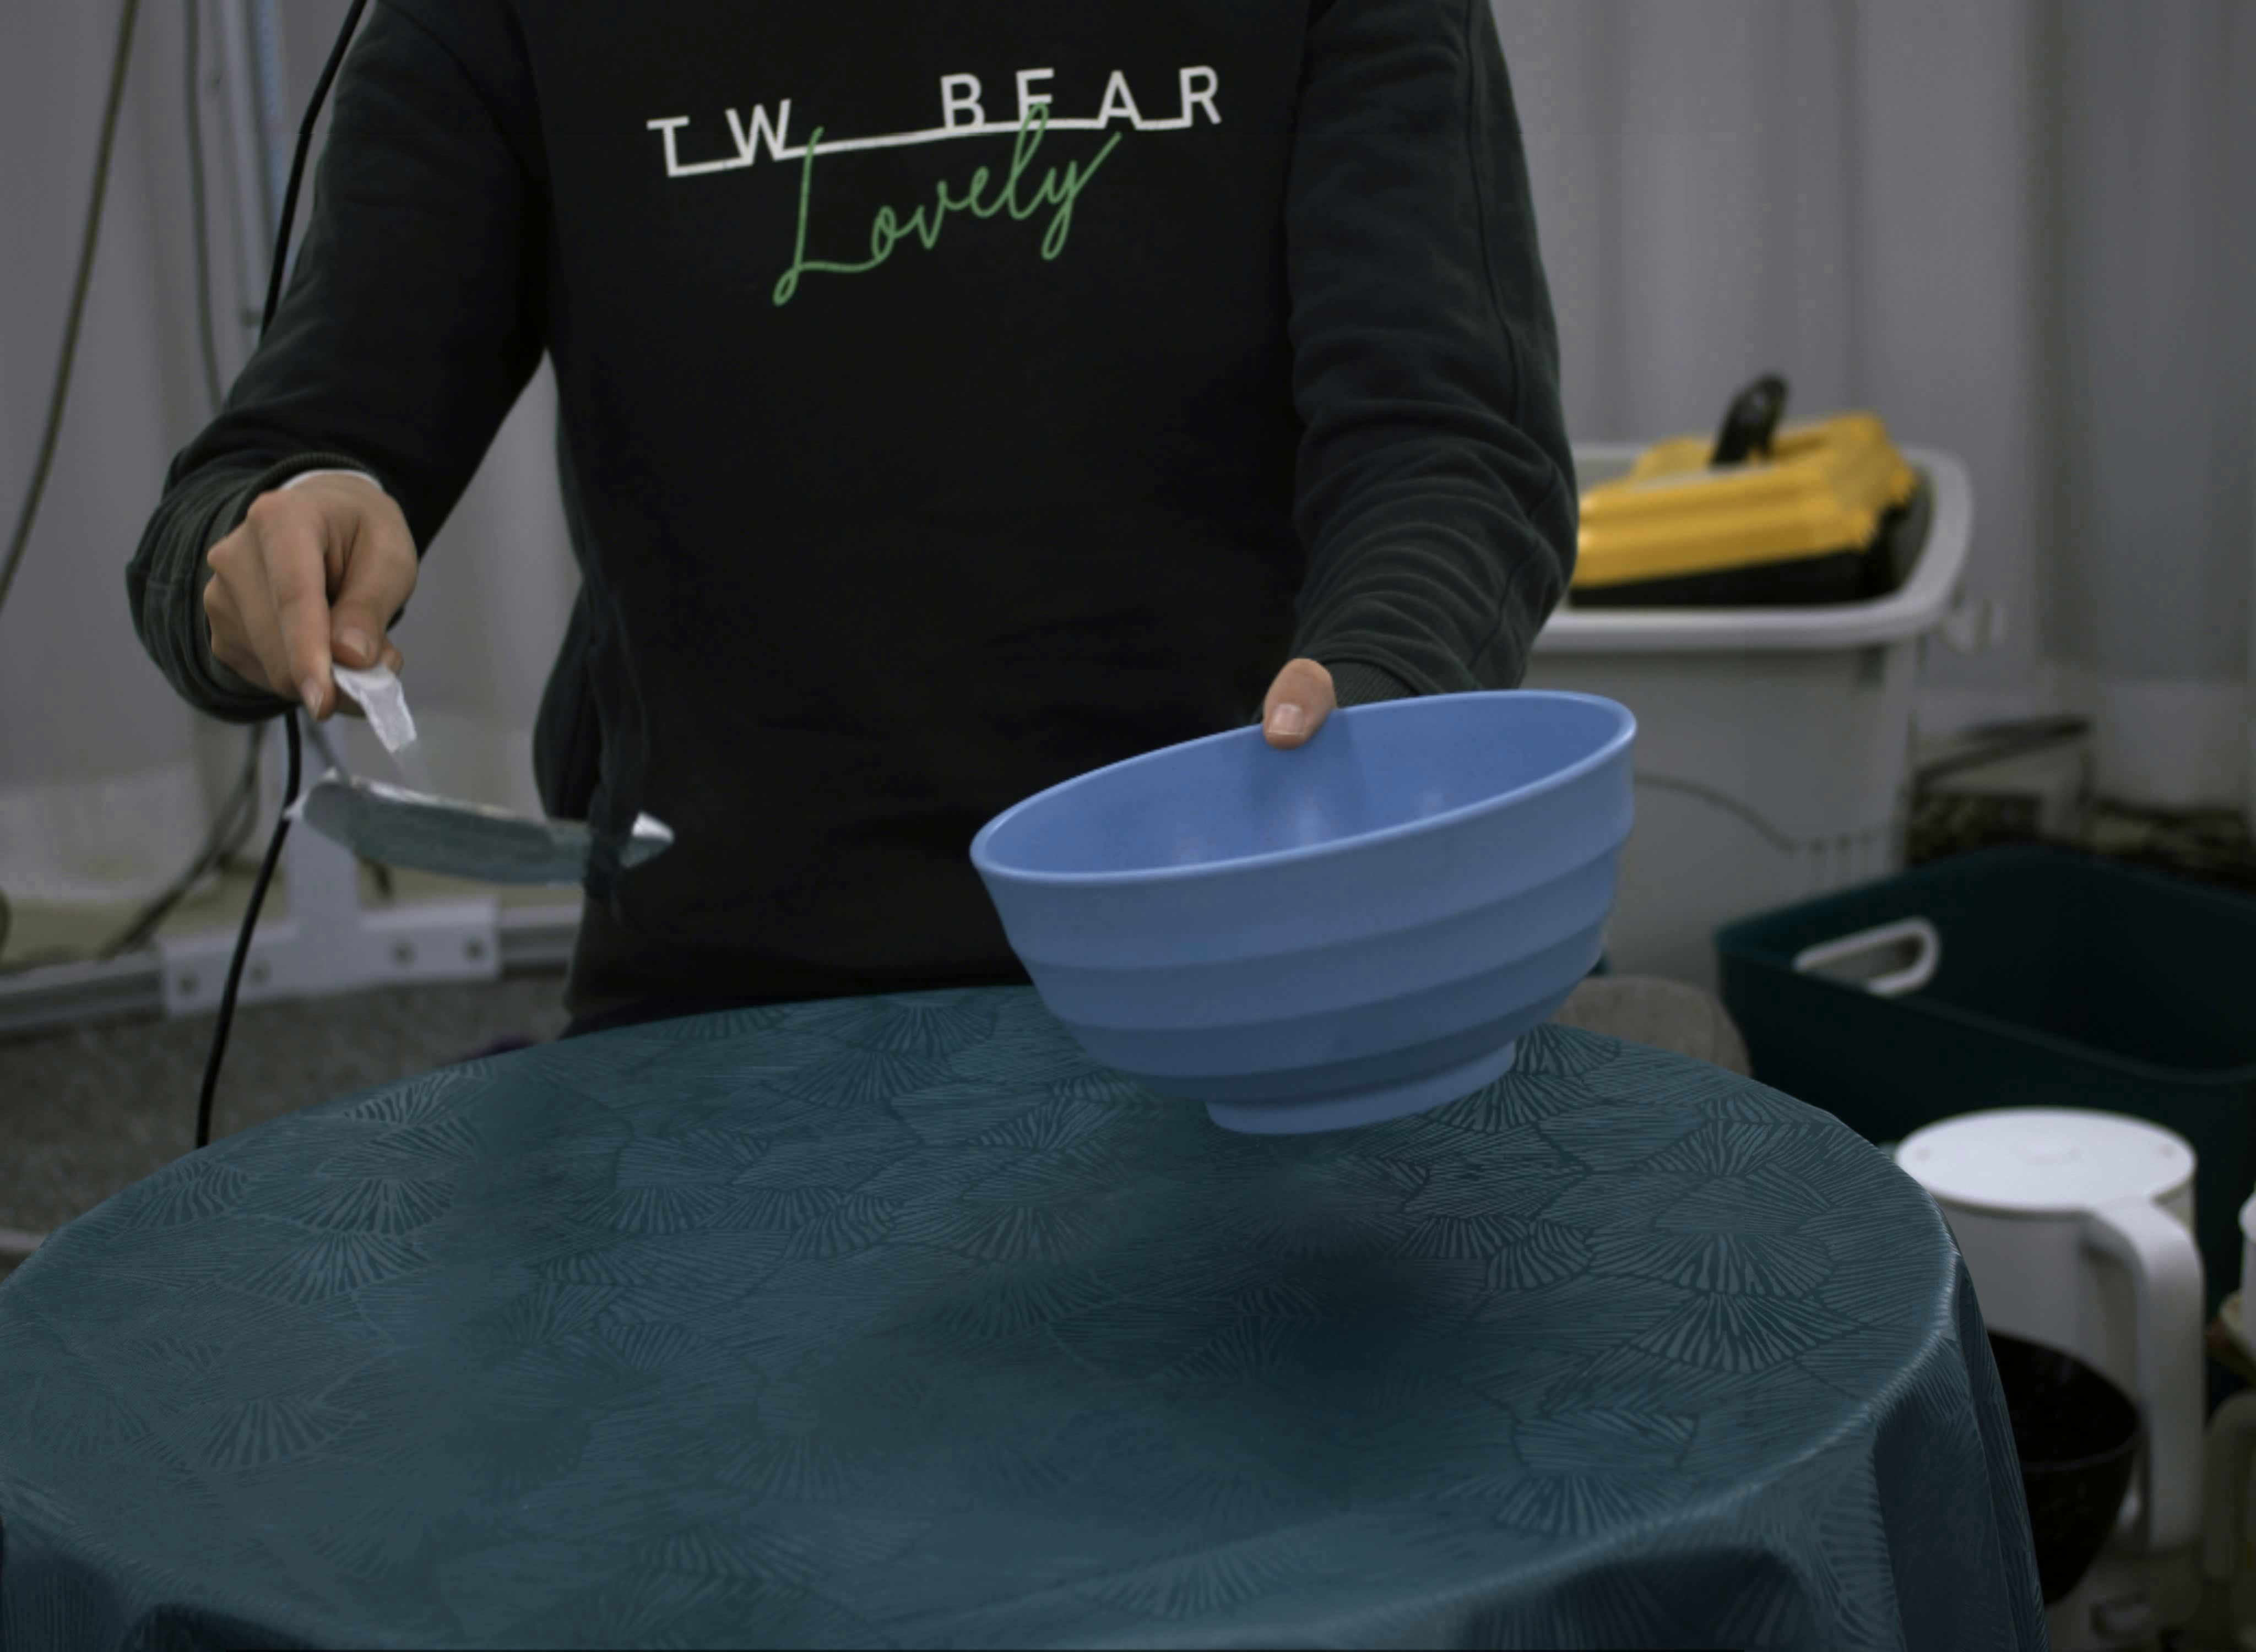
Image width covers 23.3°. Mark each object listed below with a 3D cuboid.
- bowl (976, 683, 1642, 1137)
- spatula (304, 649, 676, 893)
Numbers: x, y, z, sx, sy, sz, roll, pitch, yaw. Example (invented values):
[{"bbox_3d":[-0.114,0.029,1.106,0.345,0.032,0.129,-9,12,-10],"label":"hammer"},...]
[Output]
[{"bbox_3d":[0.060,0.031,1.586,0.196,0.095,0.197,-11,13,2],"label":"bowl"},{"bbox_3d":[-0.210,-0.027,1.611,0.098,0.044,0.368,8,12,-17],"label":"spatula"}]
